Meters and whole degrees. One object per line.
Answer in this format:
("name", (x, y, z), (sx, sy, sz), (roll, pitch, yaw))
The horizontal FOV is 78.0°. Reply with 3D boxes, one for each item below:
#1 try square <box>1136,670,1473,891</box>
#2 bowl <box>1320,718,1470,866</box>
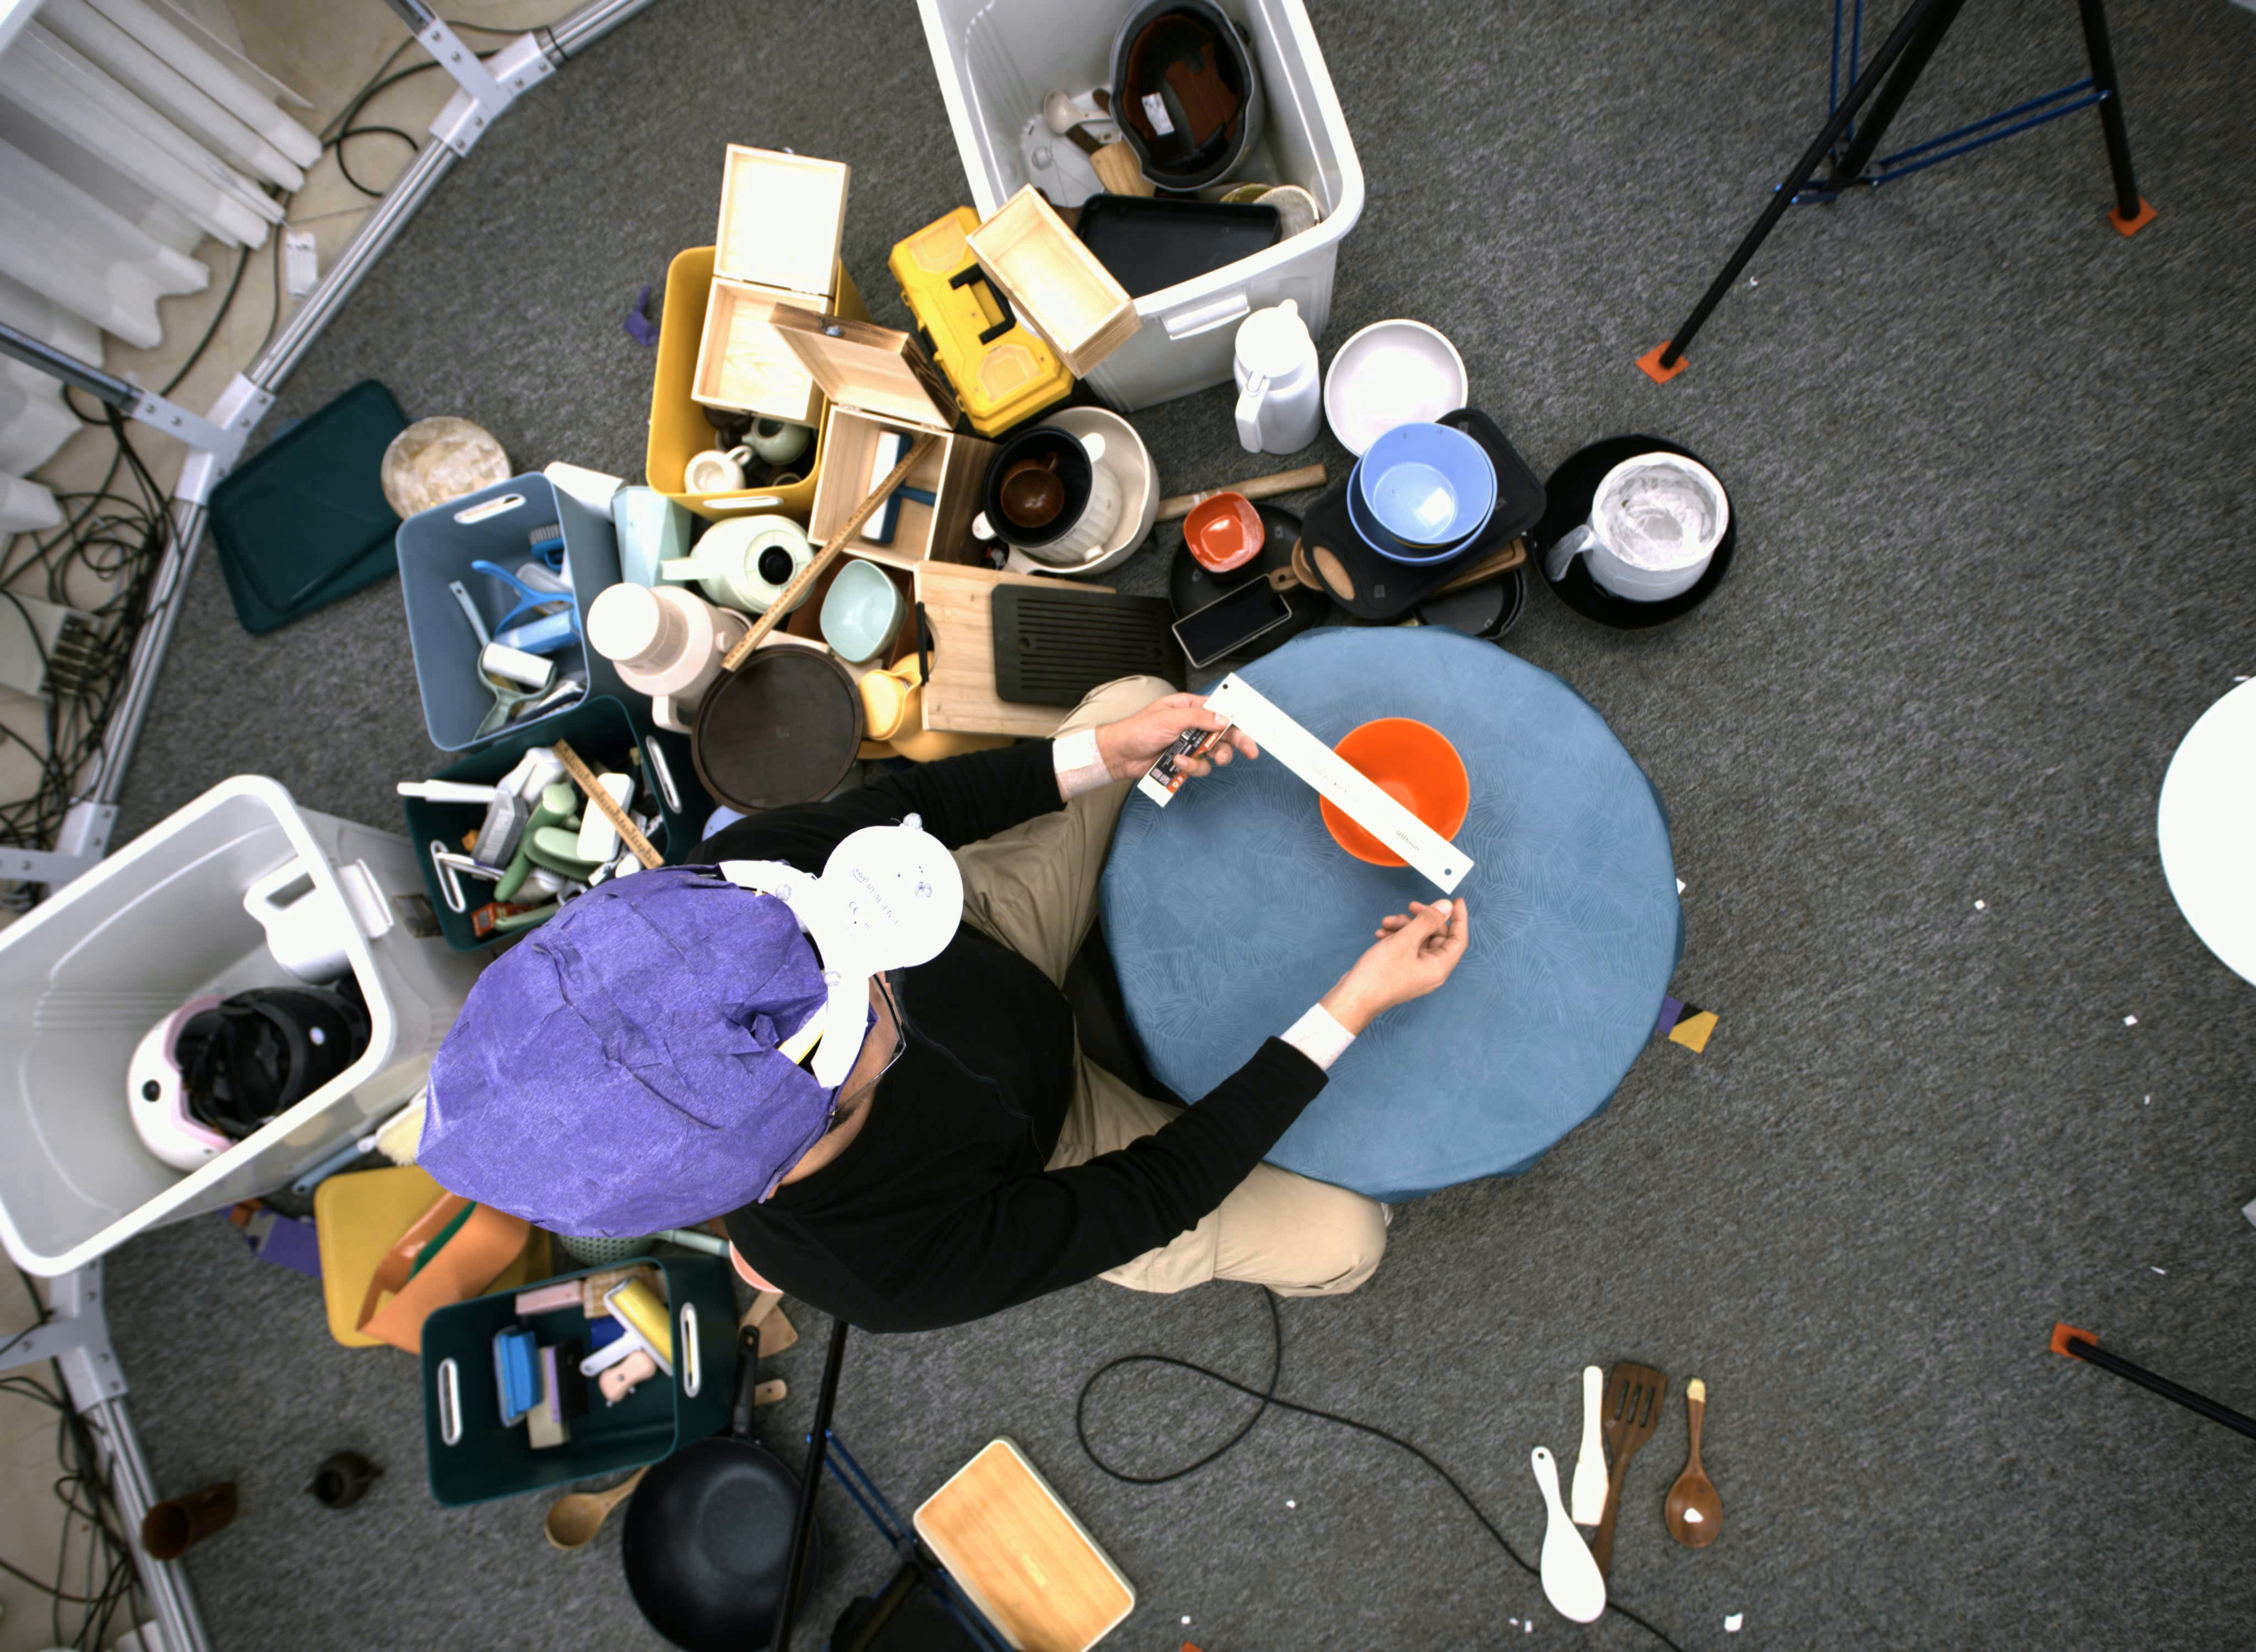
("try square", (0.174, -0.006, 1.382), (0.312, 0.016, 0.153), (39, 95, 6))
("bowl", (0.272, -0.031, 1.415), (0.148, 0.104, 0.147), (-1, 87, 10))
